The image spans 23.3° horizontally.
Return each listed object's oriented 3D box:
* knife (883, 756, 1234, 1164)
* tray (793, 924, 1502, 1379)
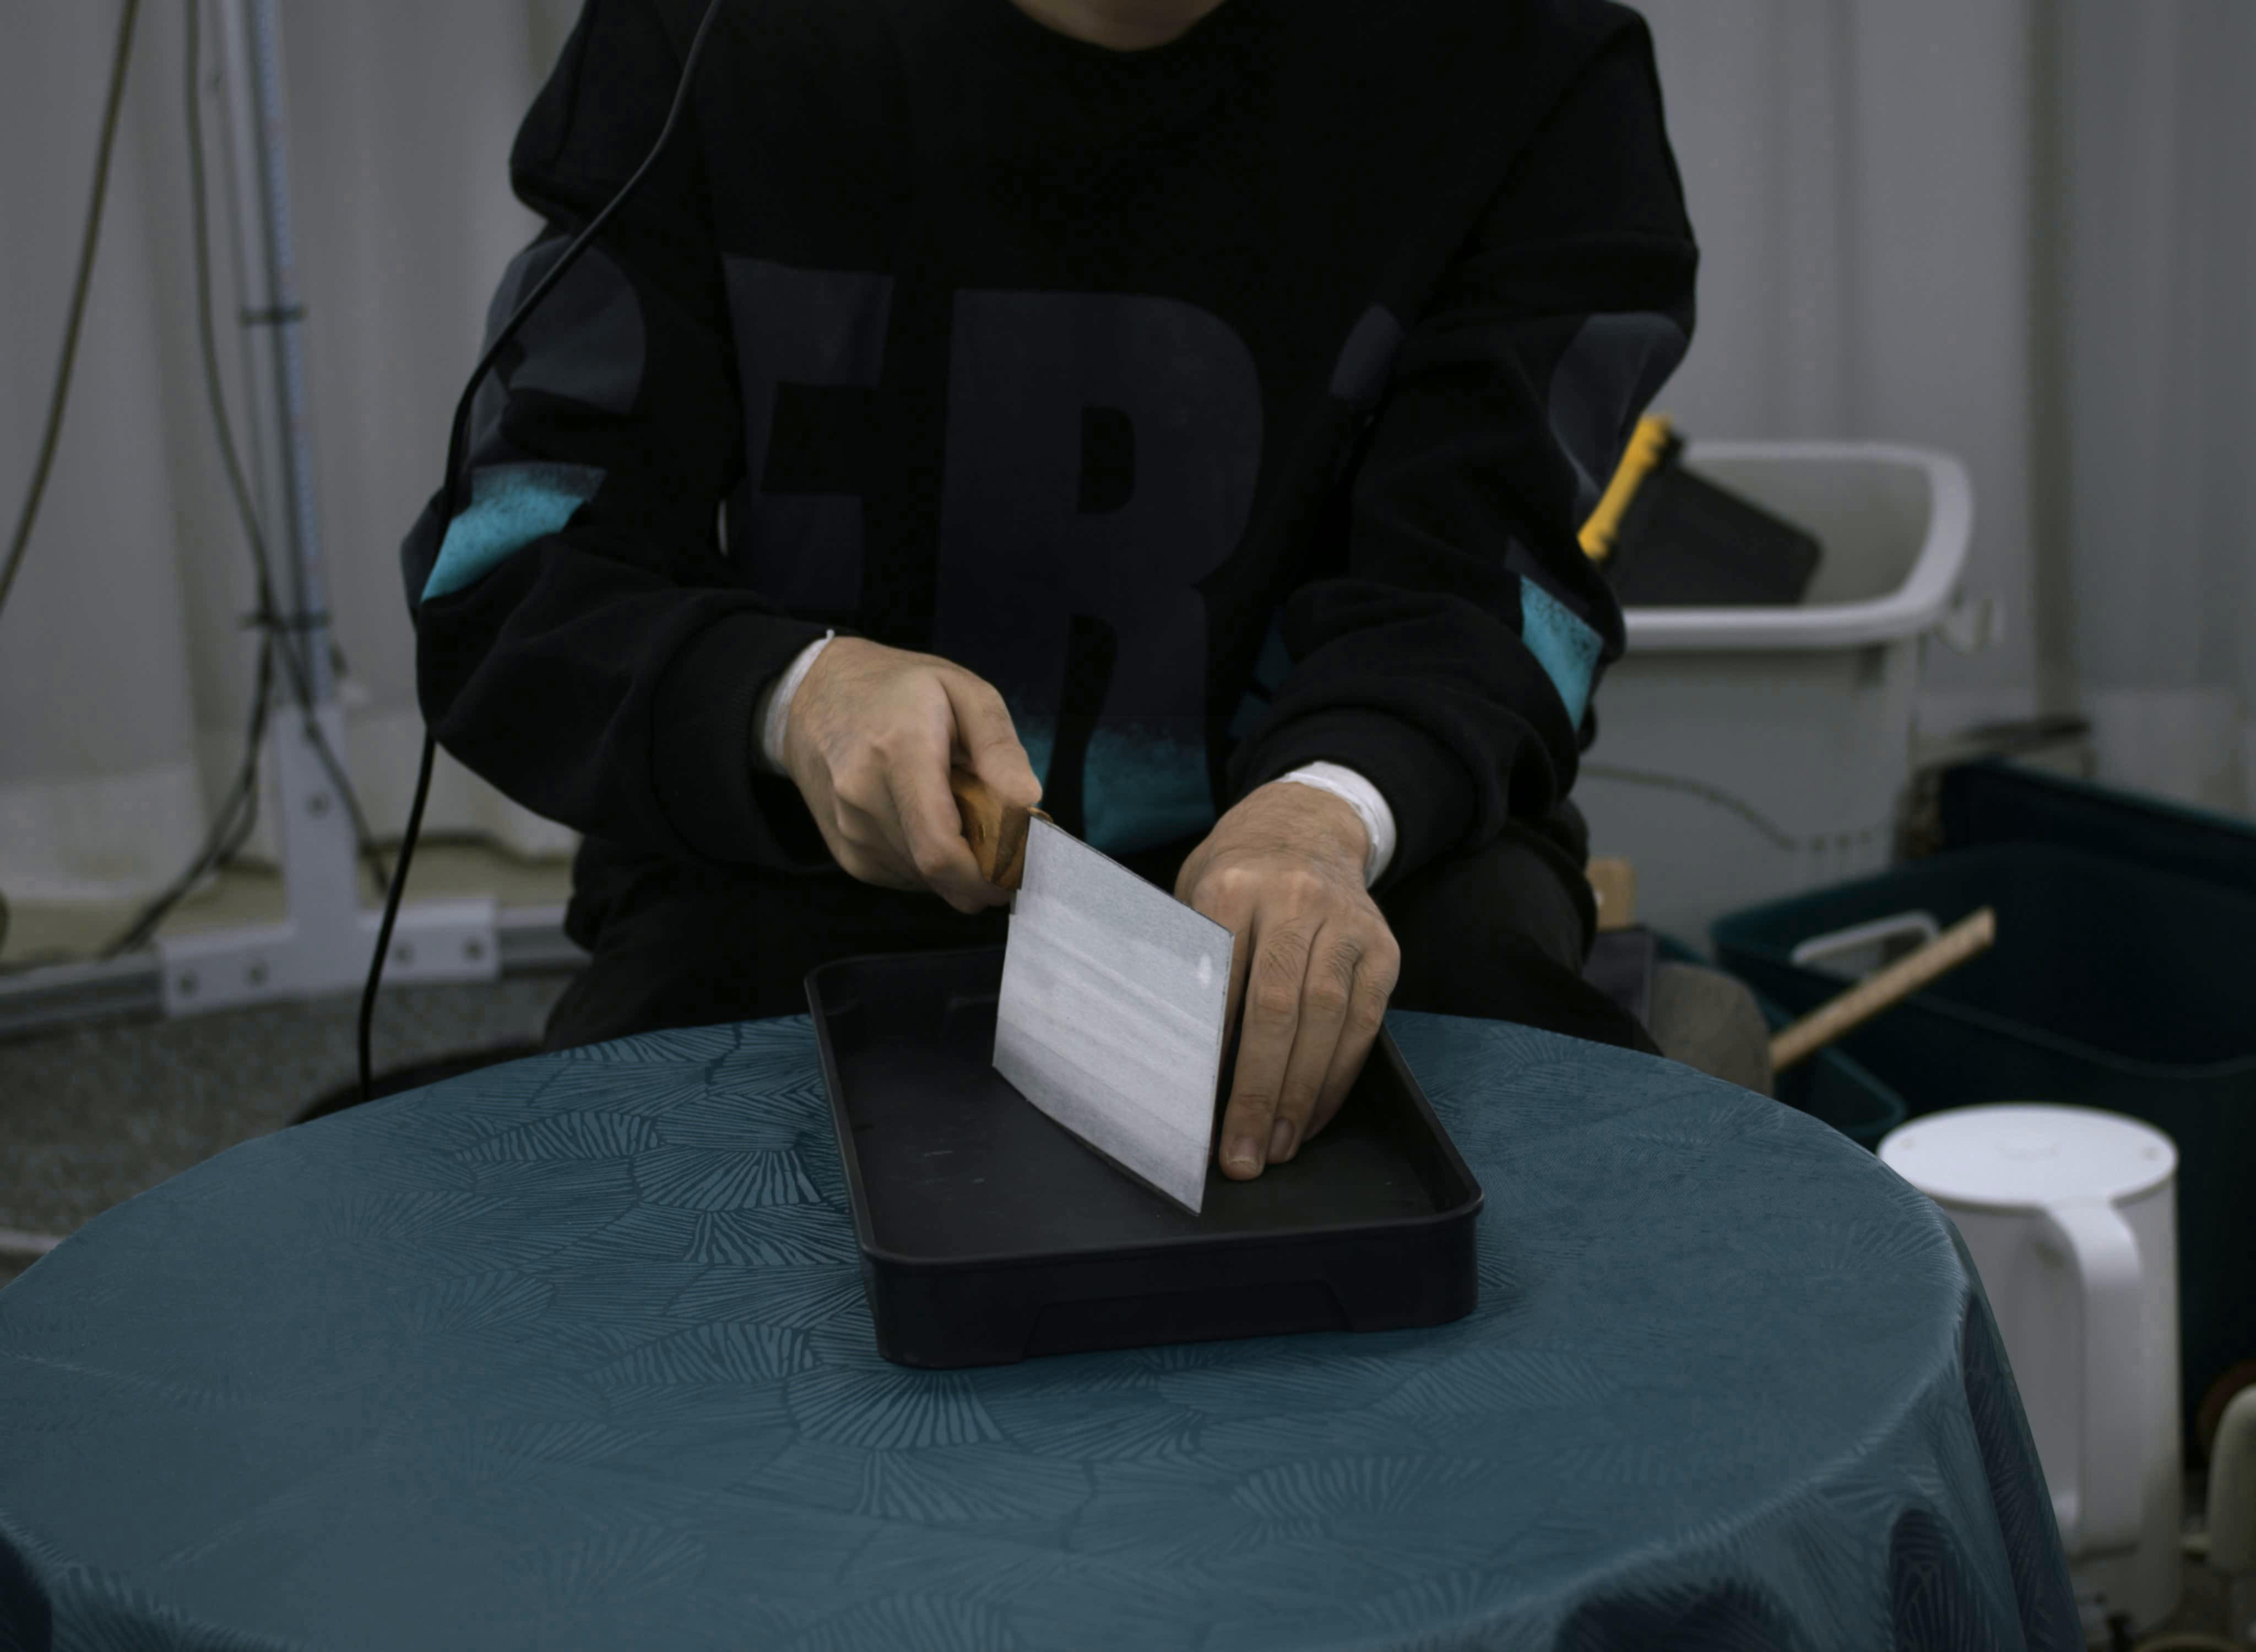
[{"bbox_3d":[-0.026,0.043,1.784,0.021,0.093,0.308,3,10,-22],"label":"knife"},{"bbox_3d":[-0.001,0.096,1.714,0.183,0.037,0.320,-5,15,-7],"label":"tray"}]
